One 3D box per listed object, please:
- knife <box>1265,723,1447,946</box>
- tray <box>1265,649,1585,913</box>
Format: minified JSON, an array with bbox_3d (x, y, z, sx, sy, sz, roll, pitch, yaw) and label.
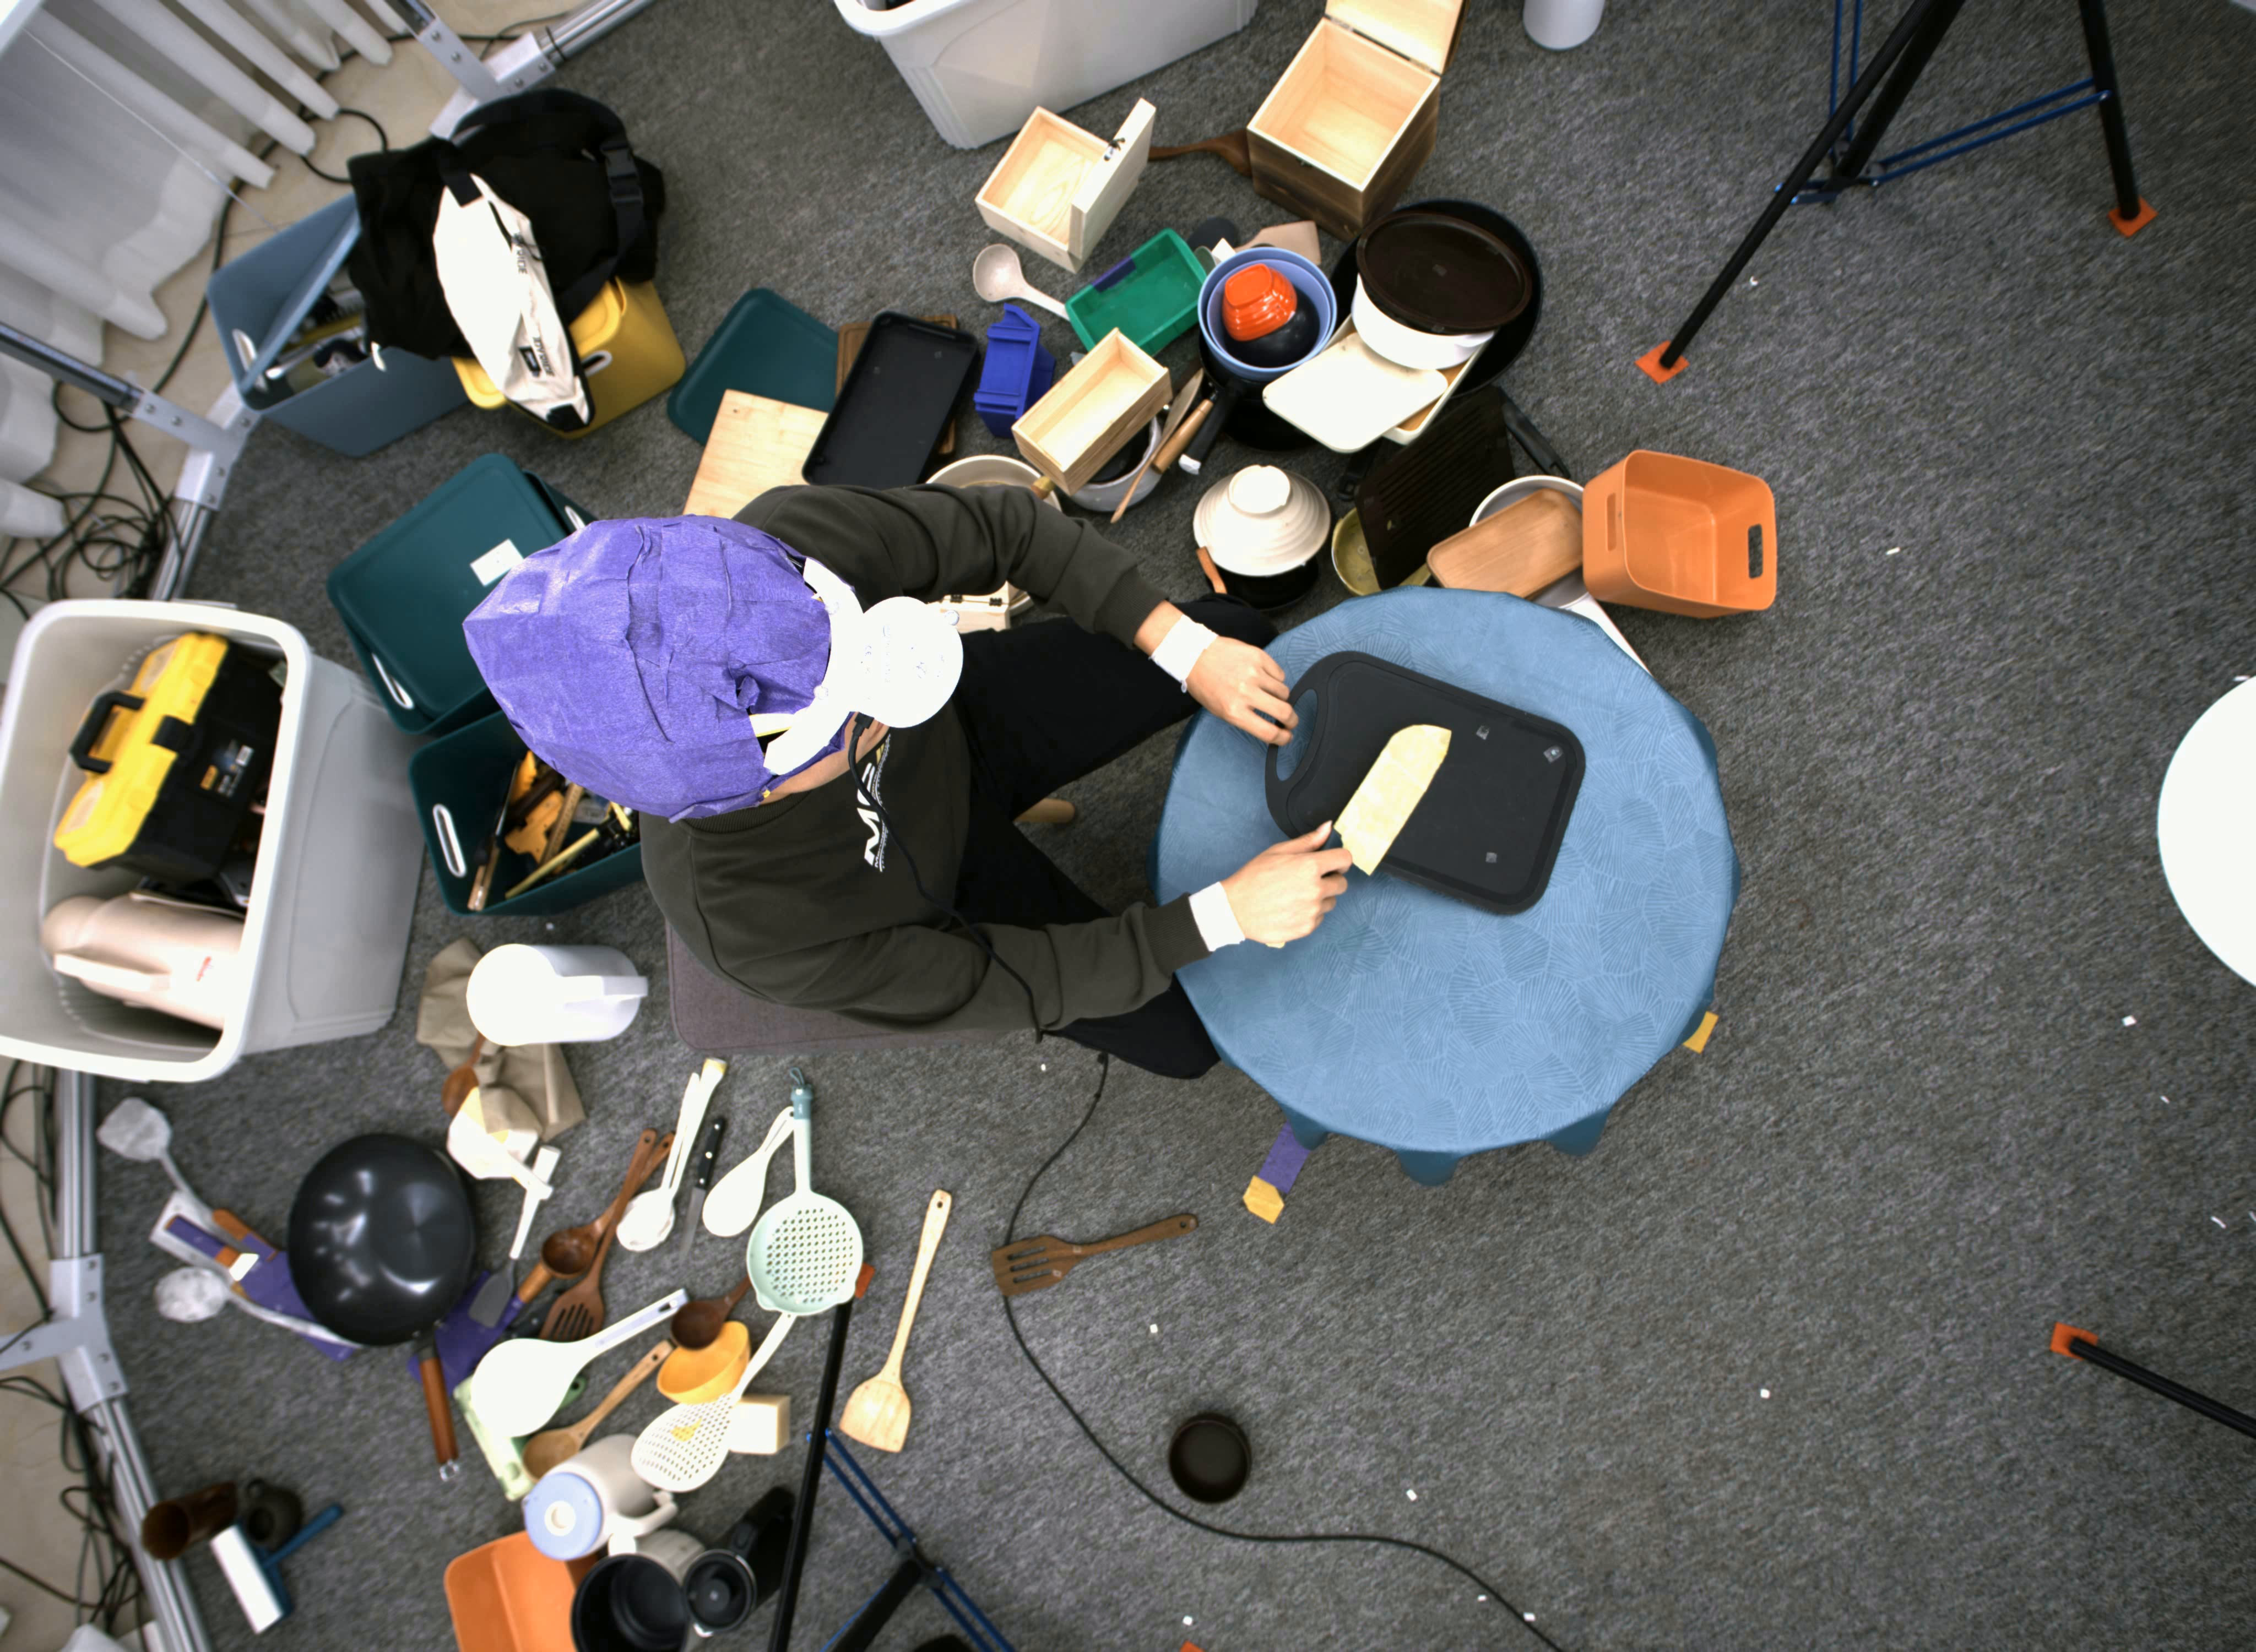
[{"bbox_3d":[0.236,0.010,1.402,0.082,0.027,0.289,39,87,-28],"label":"knife"},{"bbox_3d":[0.302,-0.050,1.421,0.326,0.010,0.211,20,90,-2],"label":"tray"}]
